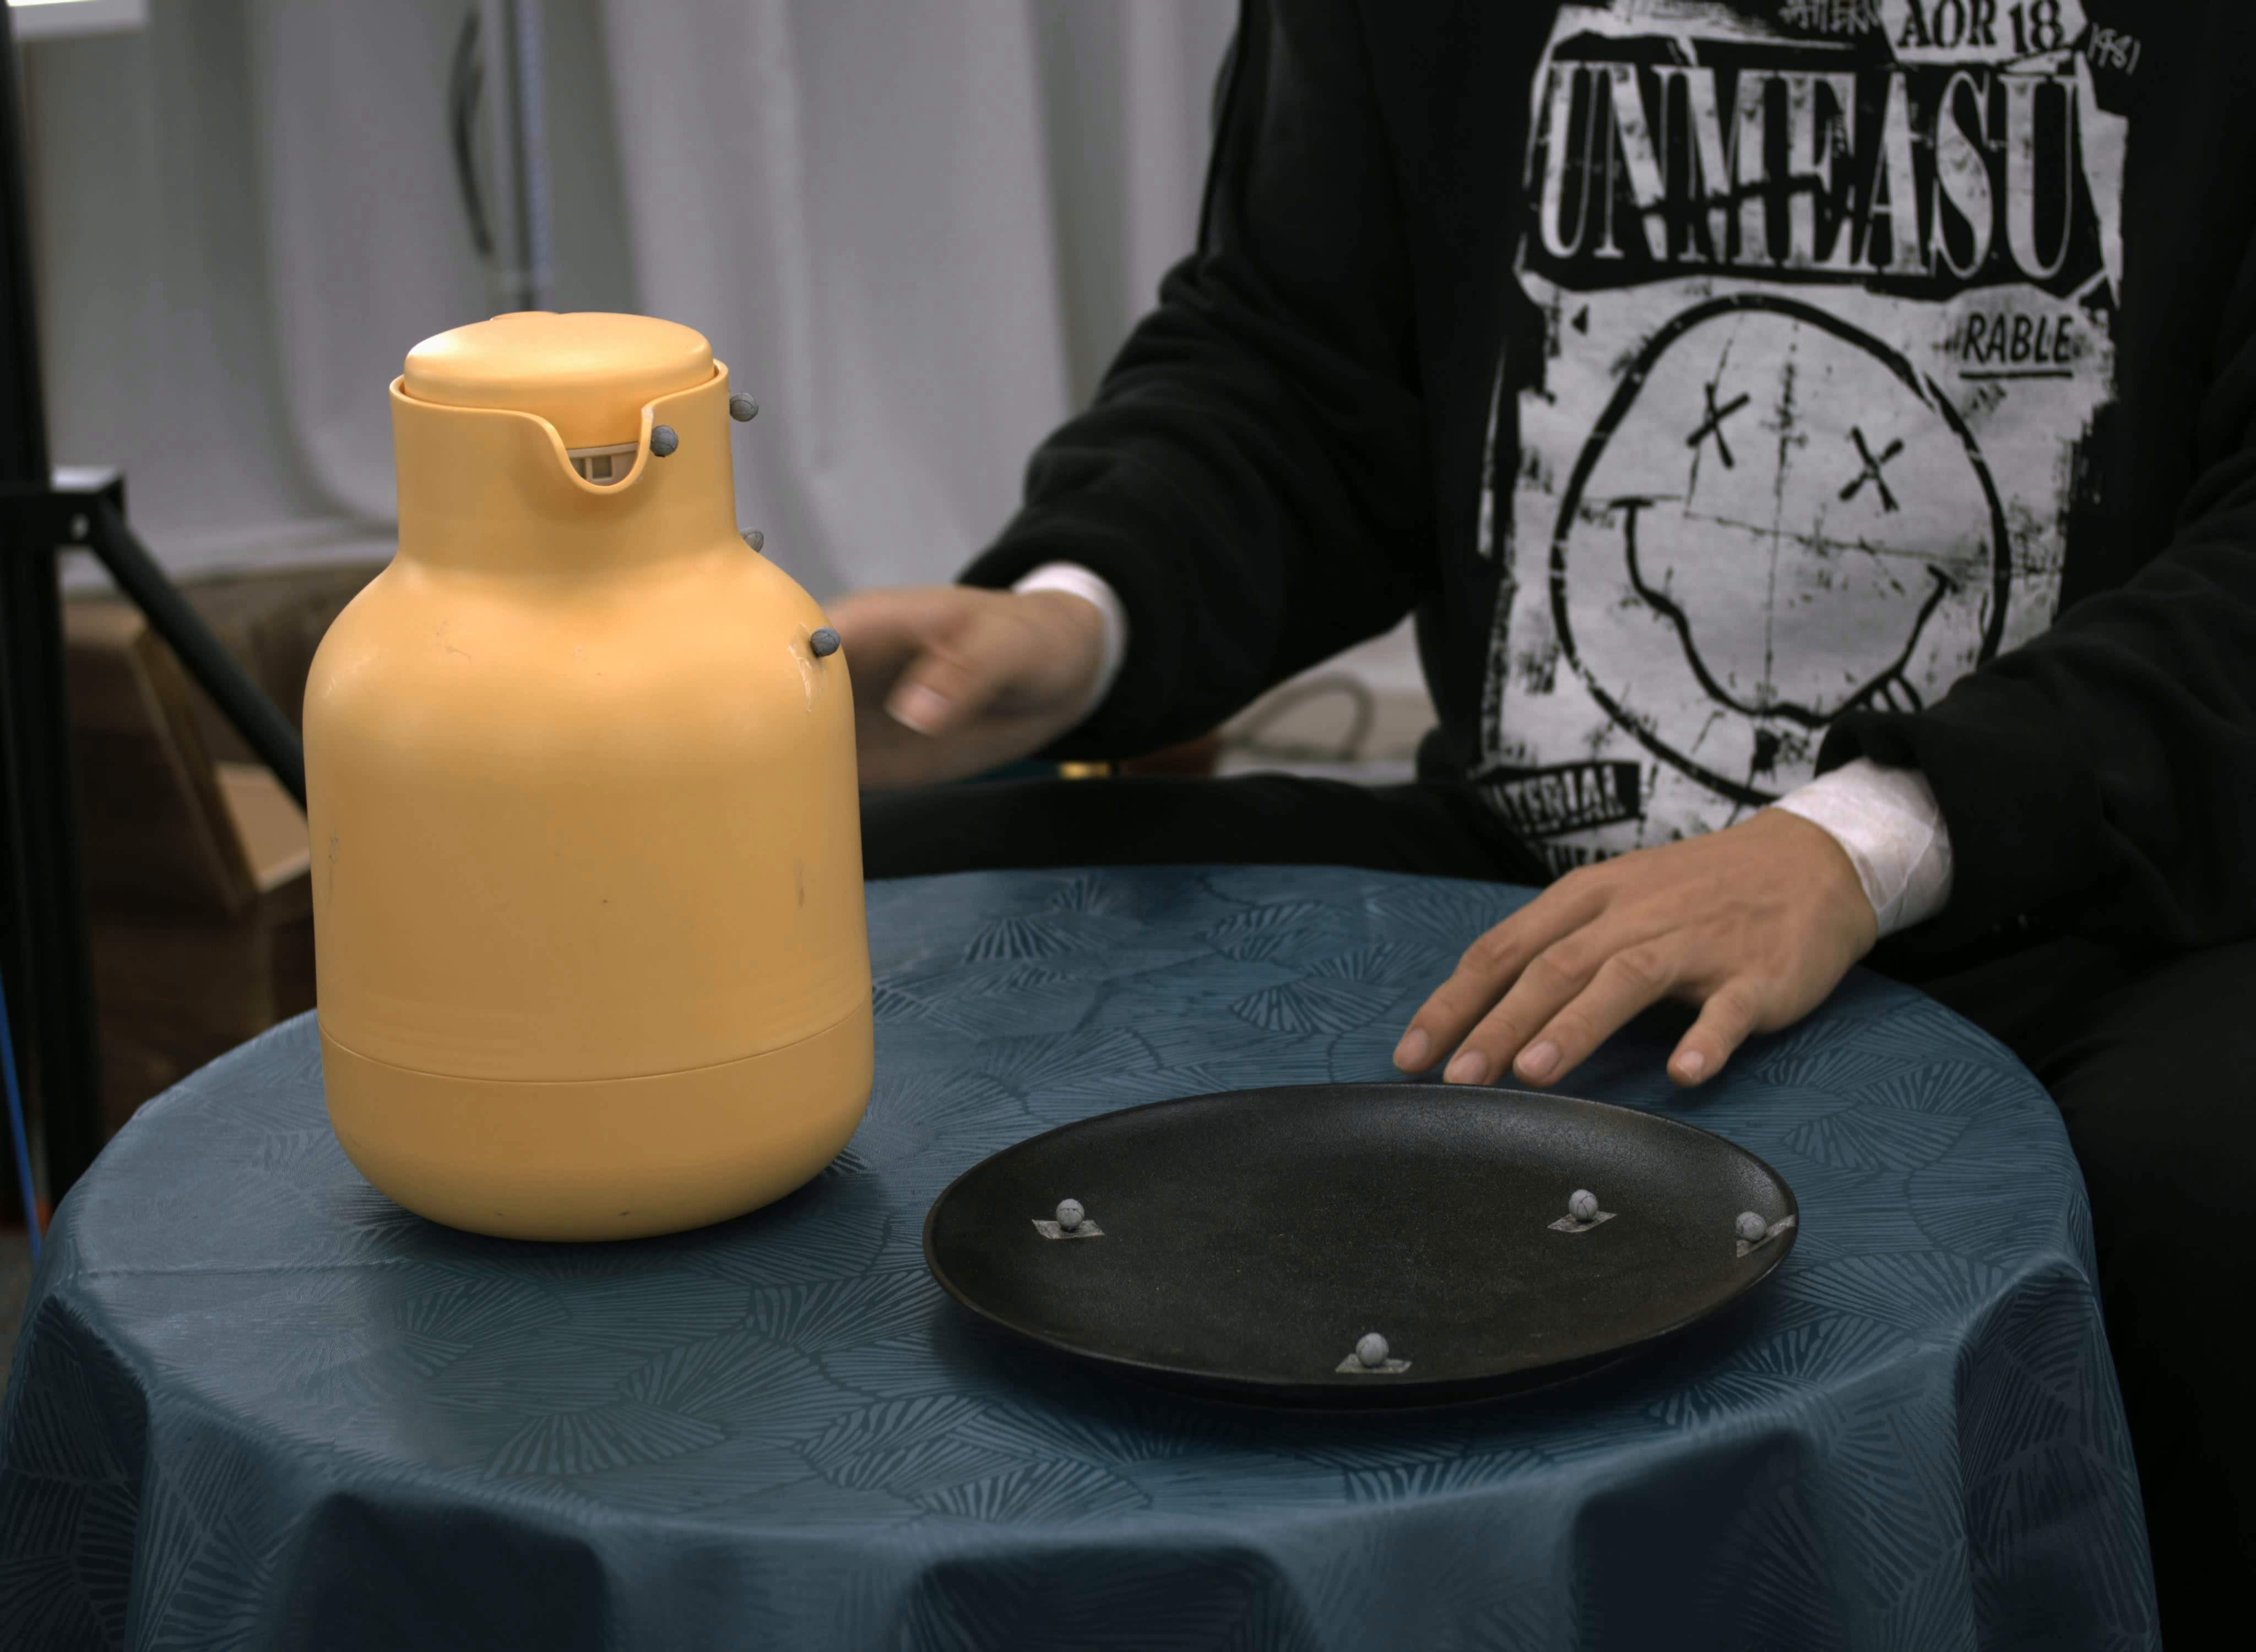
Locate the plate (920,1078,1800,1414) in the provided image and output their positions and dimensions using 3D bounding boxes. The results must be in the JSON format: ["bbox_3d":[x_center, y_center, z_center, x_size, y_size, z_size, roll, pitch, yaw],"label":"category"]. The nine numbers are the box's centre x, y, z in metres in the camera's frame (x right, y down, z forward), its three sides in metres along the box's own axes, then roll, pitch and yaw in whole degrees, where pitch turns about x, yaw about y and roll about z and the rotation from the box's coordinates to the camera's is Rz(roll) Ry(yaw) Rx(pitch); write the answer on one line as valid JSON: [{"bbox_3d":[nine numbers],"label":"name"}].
[{"bbox_3d":[0.064,0.118,1.464,0.243,0.023,0.245,-3,16,-1],"label":"plate"}]

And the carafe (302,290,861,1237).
[{"bbox_3d":[-0.162,-0.026,1.574,0.161,0.260,0.205,-2,17,-11],"label":"carafe"}]
